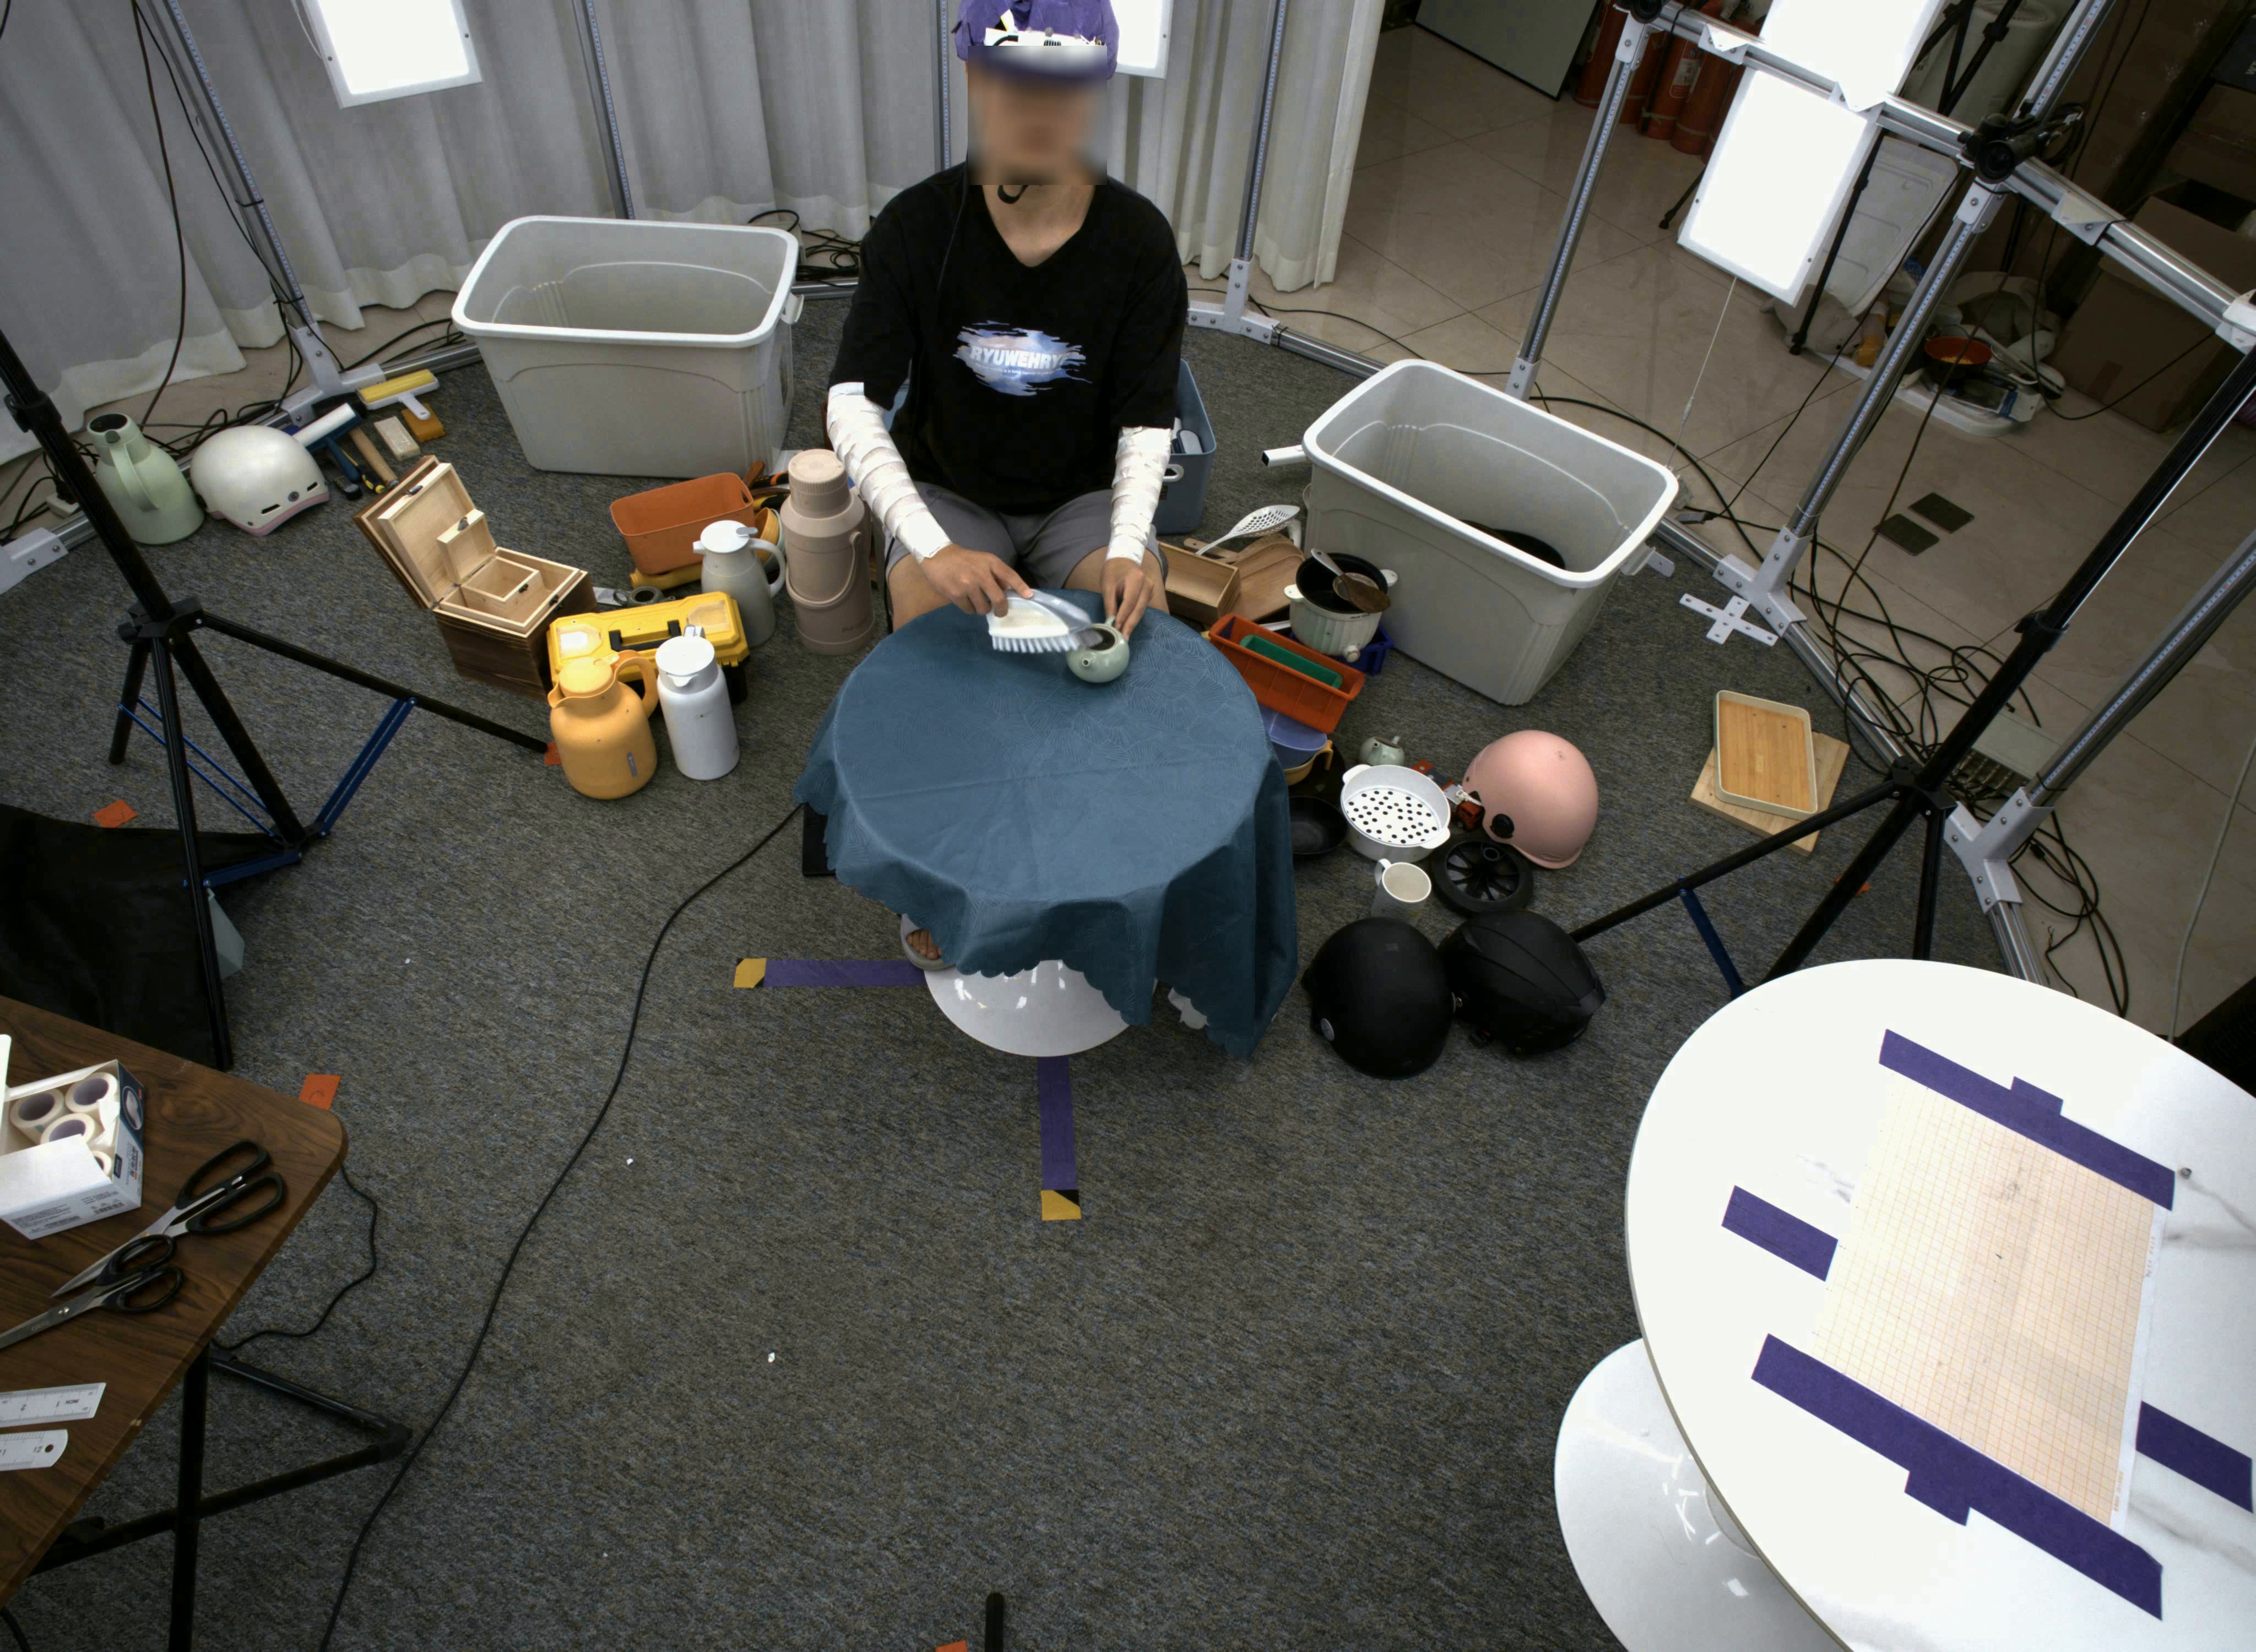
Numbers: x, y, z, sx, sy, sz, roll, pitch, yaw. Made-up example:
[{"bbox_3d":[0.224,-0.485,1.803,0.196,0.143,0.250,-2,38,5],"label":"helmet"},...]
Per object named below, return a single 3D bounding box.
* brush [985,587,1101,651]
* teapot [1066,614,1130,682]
[{"bbox_3d":[-0.125,-0.296,1.813,0.177,0.092,0.062,11,57,31],"label":"brush"},{"bbox_3d":[-0.039,-0.257,1.853,0.092,0.059,0.131,20,51,15],"label":"teapot"}]
